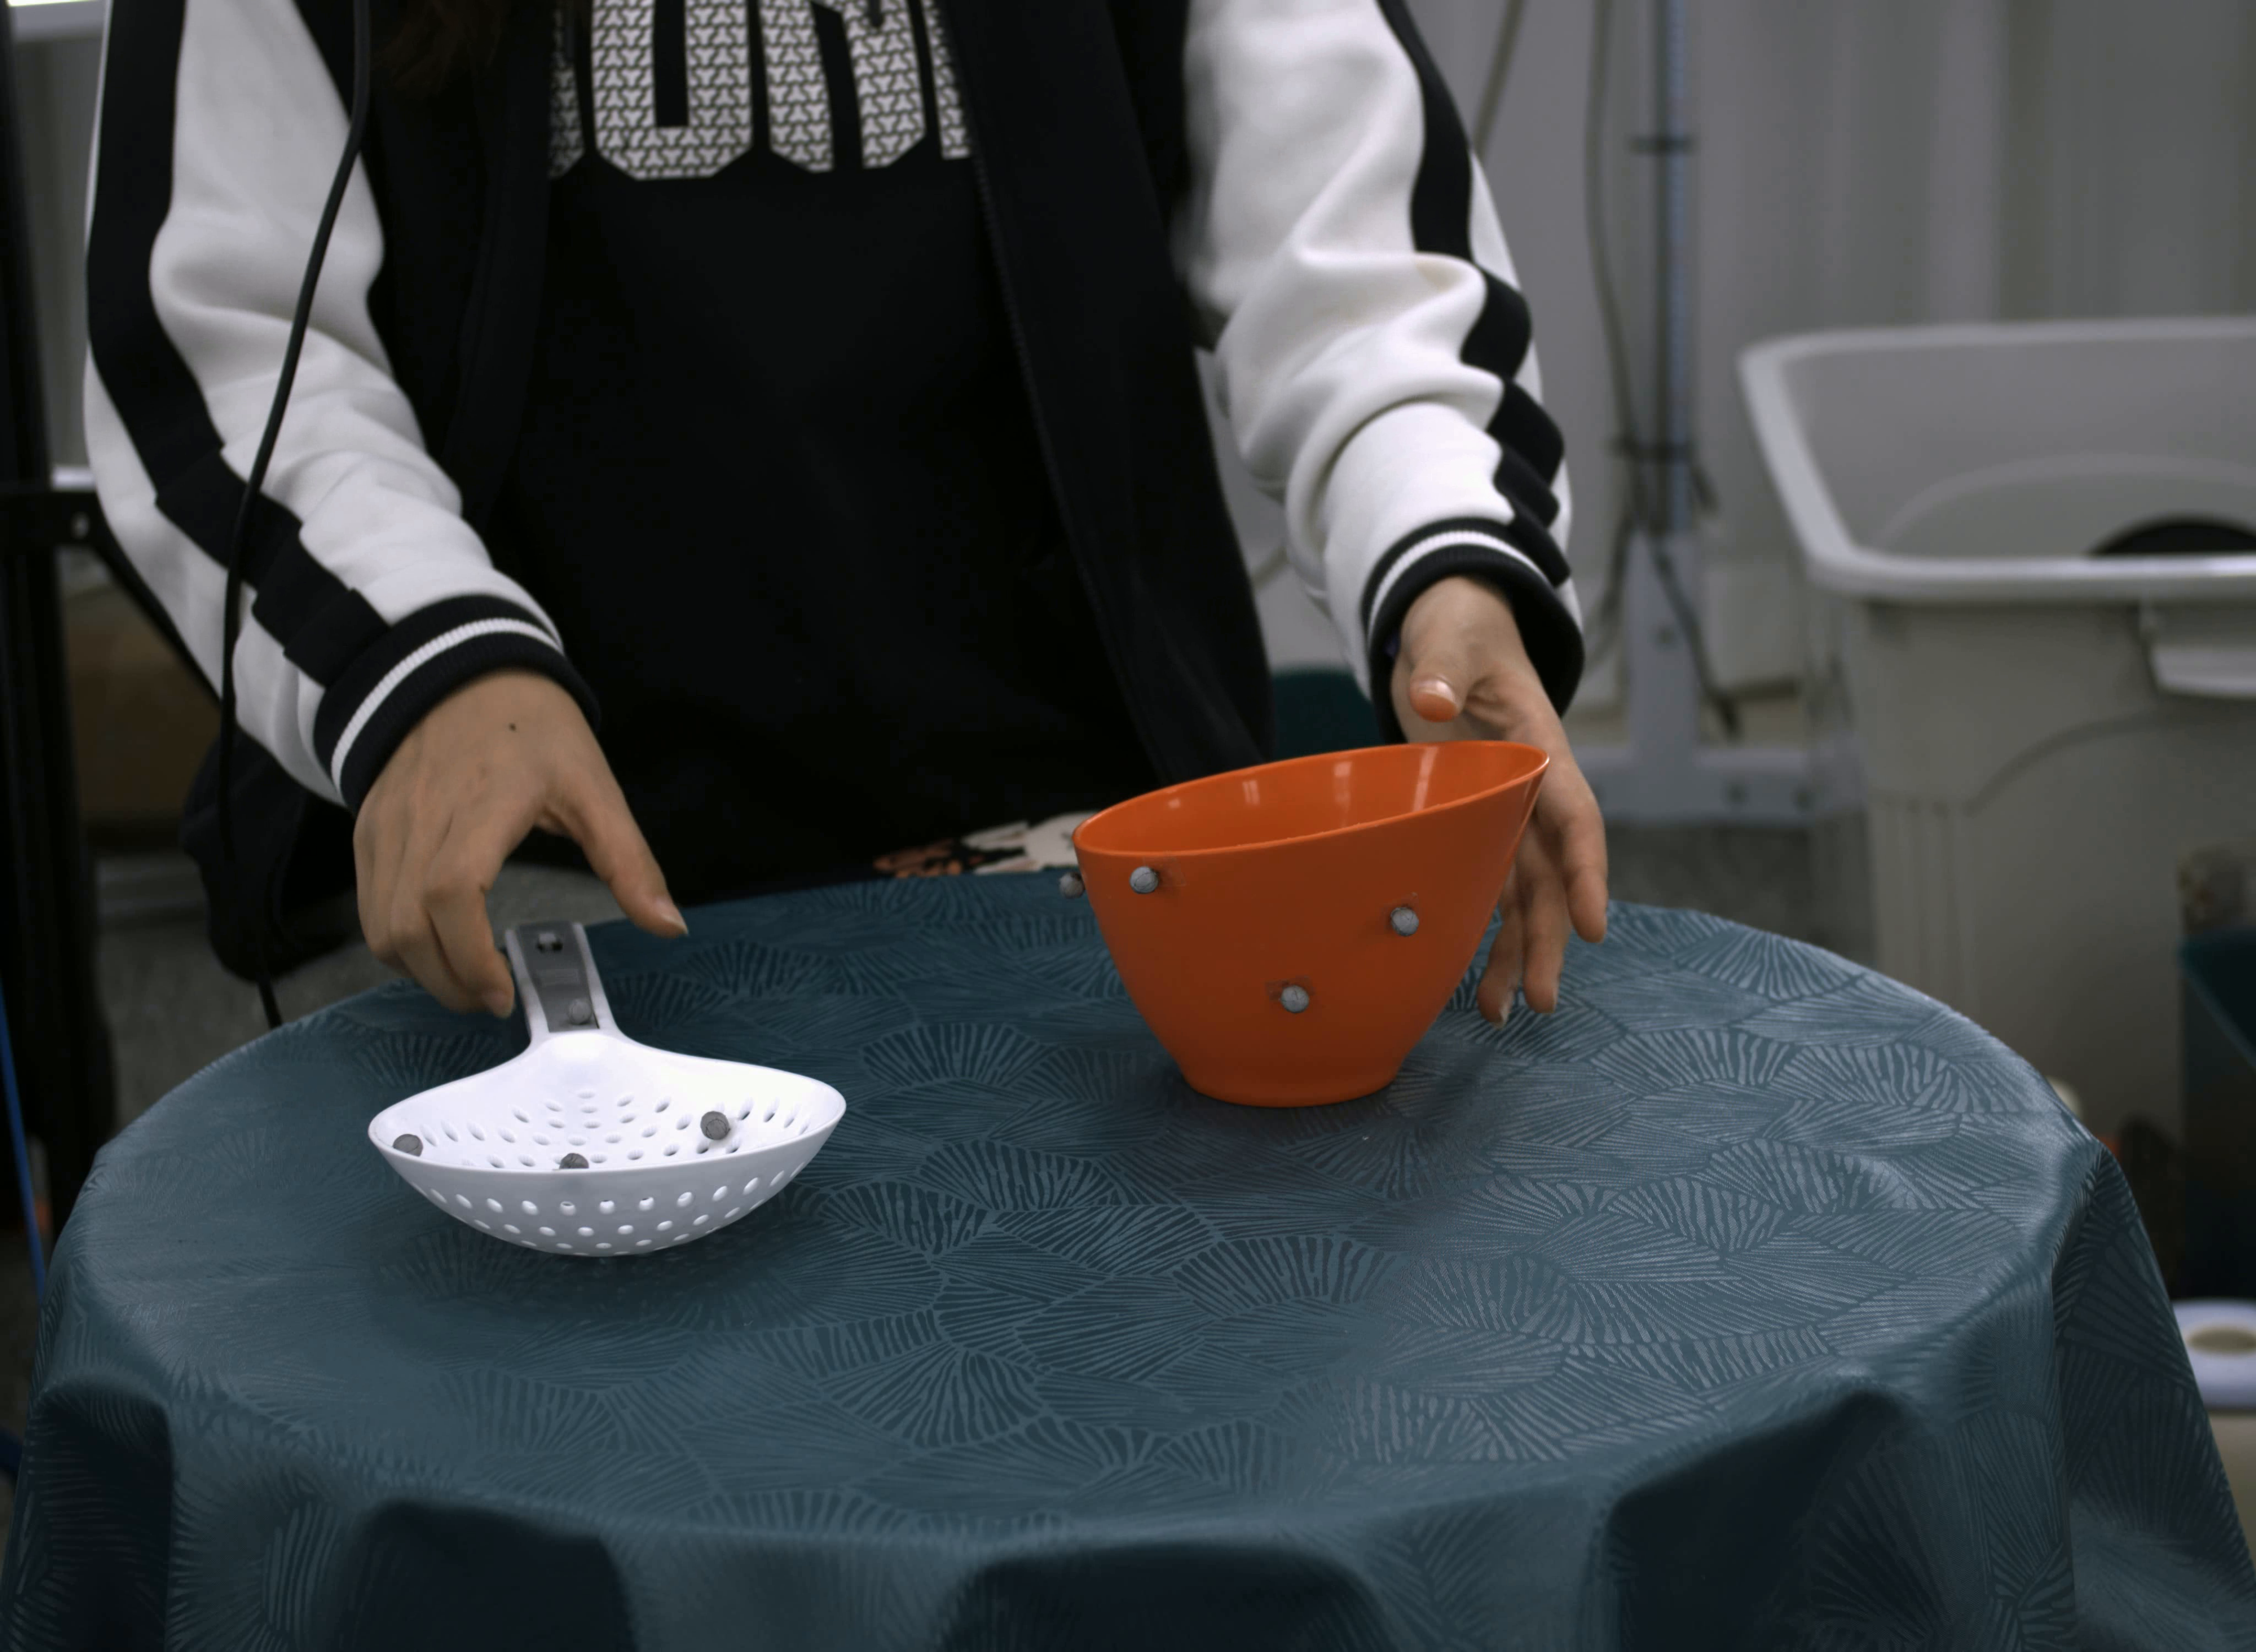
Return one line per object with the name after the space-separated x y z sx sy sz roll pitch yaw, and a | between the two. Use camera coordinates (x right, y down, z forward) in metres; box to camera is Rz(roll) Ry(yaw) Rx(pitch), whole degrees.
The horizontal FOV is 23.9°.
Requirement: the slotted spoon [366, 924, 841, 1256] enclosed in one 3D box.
-0.167 0.071 1.633 0.134 0.046 0.353 -4 15 -9 | slotted spoon

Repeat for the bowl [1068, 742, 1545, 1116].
0.056 0.032 1.635 0.147 0.104 0.149 -4 16 0 | bowl
